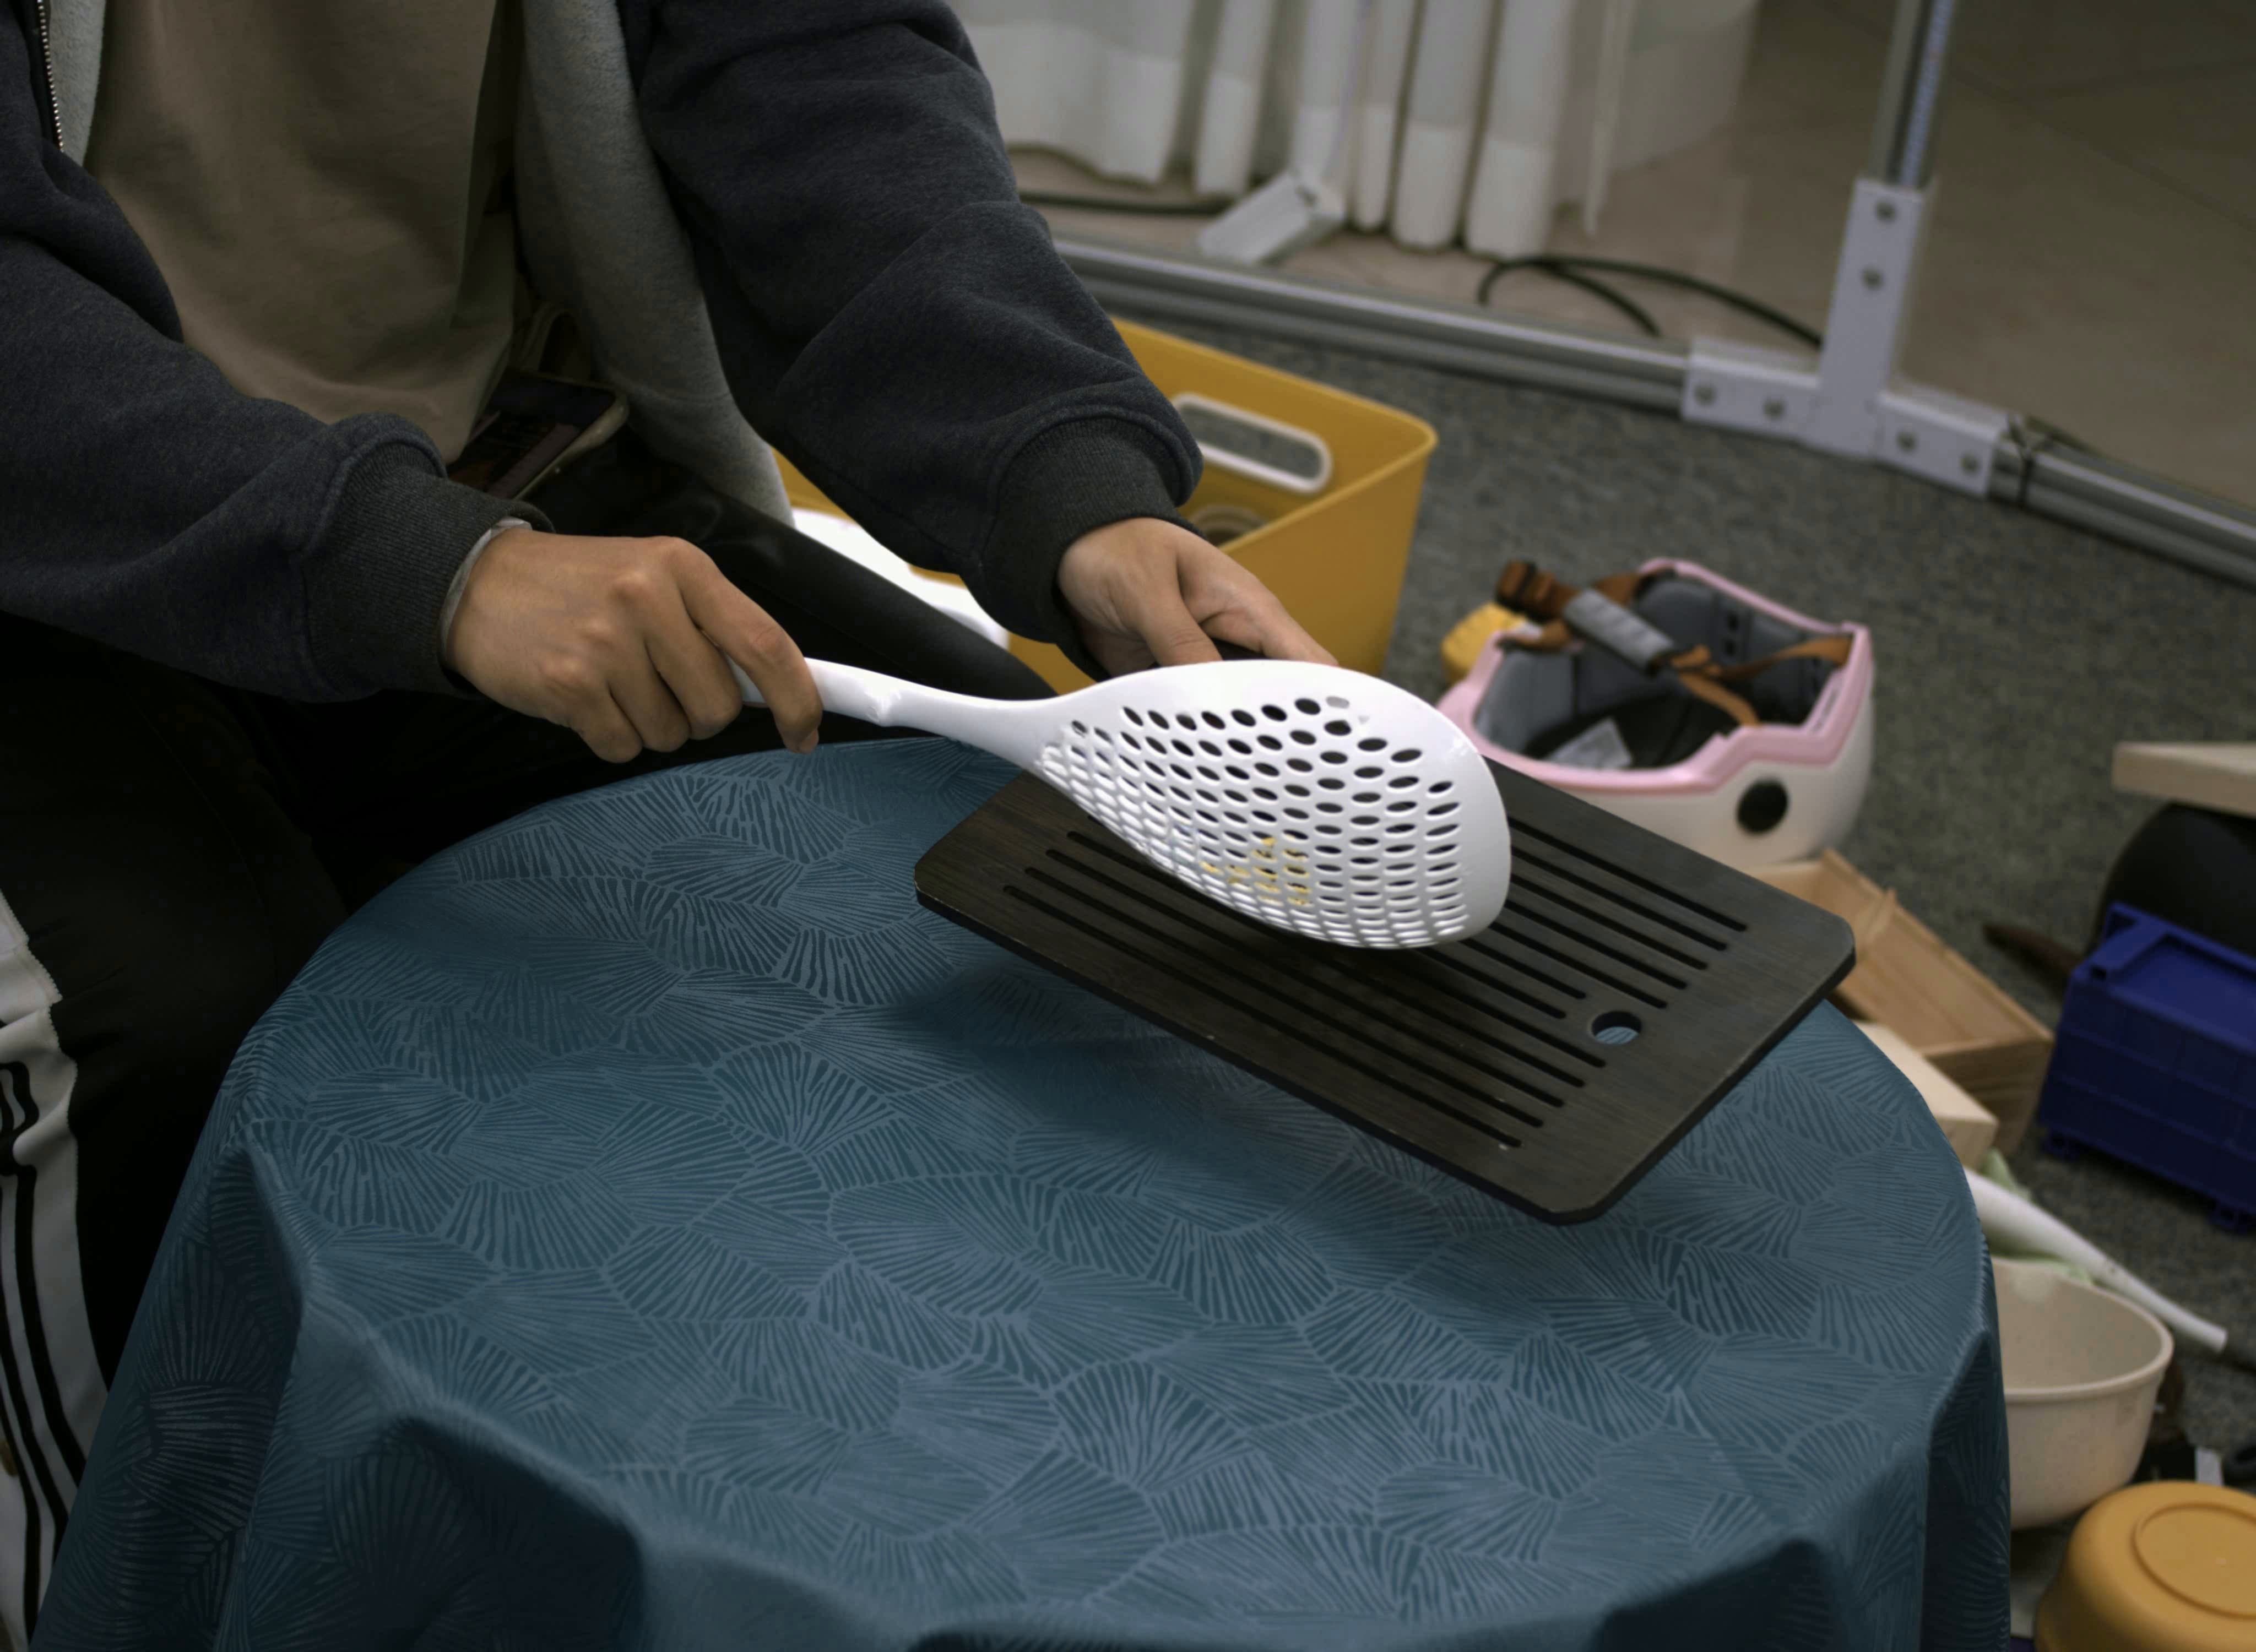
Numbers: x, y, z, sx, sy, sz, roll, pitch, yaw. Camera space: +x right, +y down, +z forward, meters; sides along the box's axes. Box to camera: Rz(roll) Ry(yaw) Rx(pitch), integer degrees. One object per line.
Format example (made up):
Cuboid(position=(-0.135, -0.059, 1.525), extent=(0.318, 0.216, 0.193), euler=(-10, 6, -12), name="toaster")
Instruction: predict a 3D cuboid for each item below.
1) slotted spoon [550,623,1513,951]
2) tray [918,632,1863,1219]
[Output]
Cuboid(position=(-0.036, -0.026, 1.826), extent=(0.349, 0.136, 0.050), euler=(18, 52, 21), name="slotted spoon")
Cuboid(position=(0.089, 0.031, 1.862), extent=(0.308, 0.018, 0.170), euler=(26, 51, 34), name="tray")
